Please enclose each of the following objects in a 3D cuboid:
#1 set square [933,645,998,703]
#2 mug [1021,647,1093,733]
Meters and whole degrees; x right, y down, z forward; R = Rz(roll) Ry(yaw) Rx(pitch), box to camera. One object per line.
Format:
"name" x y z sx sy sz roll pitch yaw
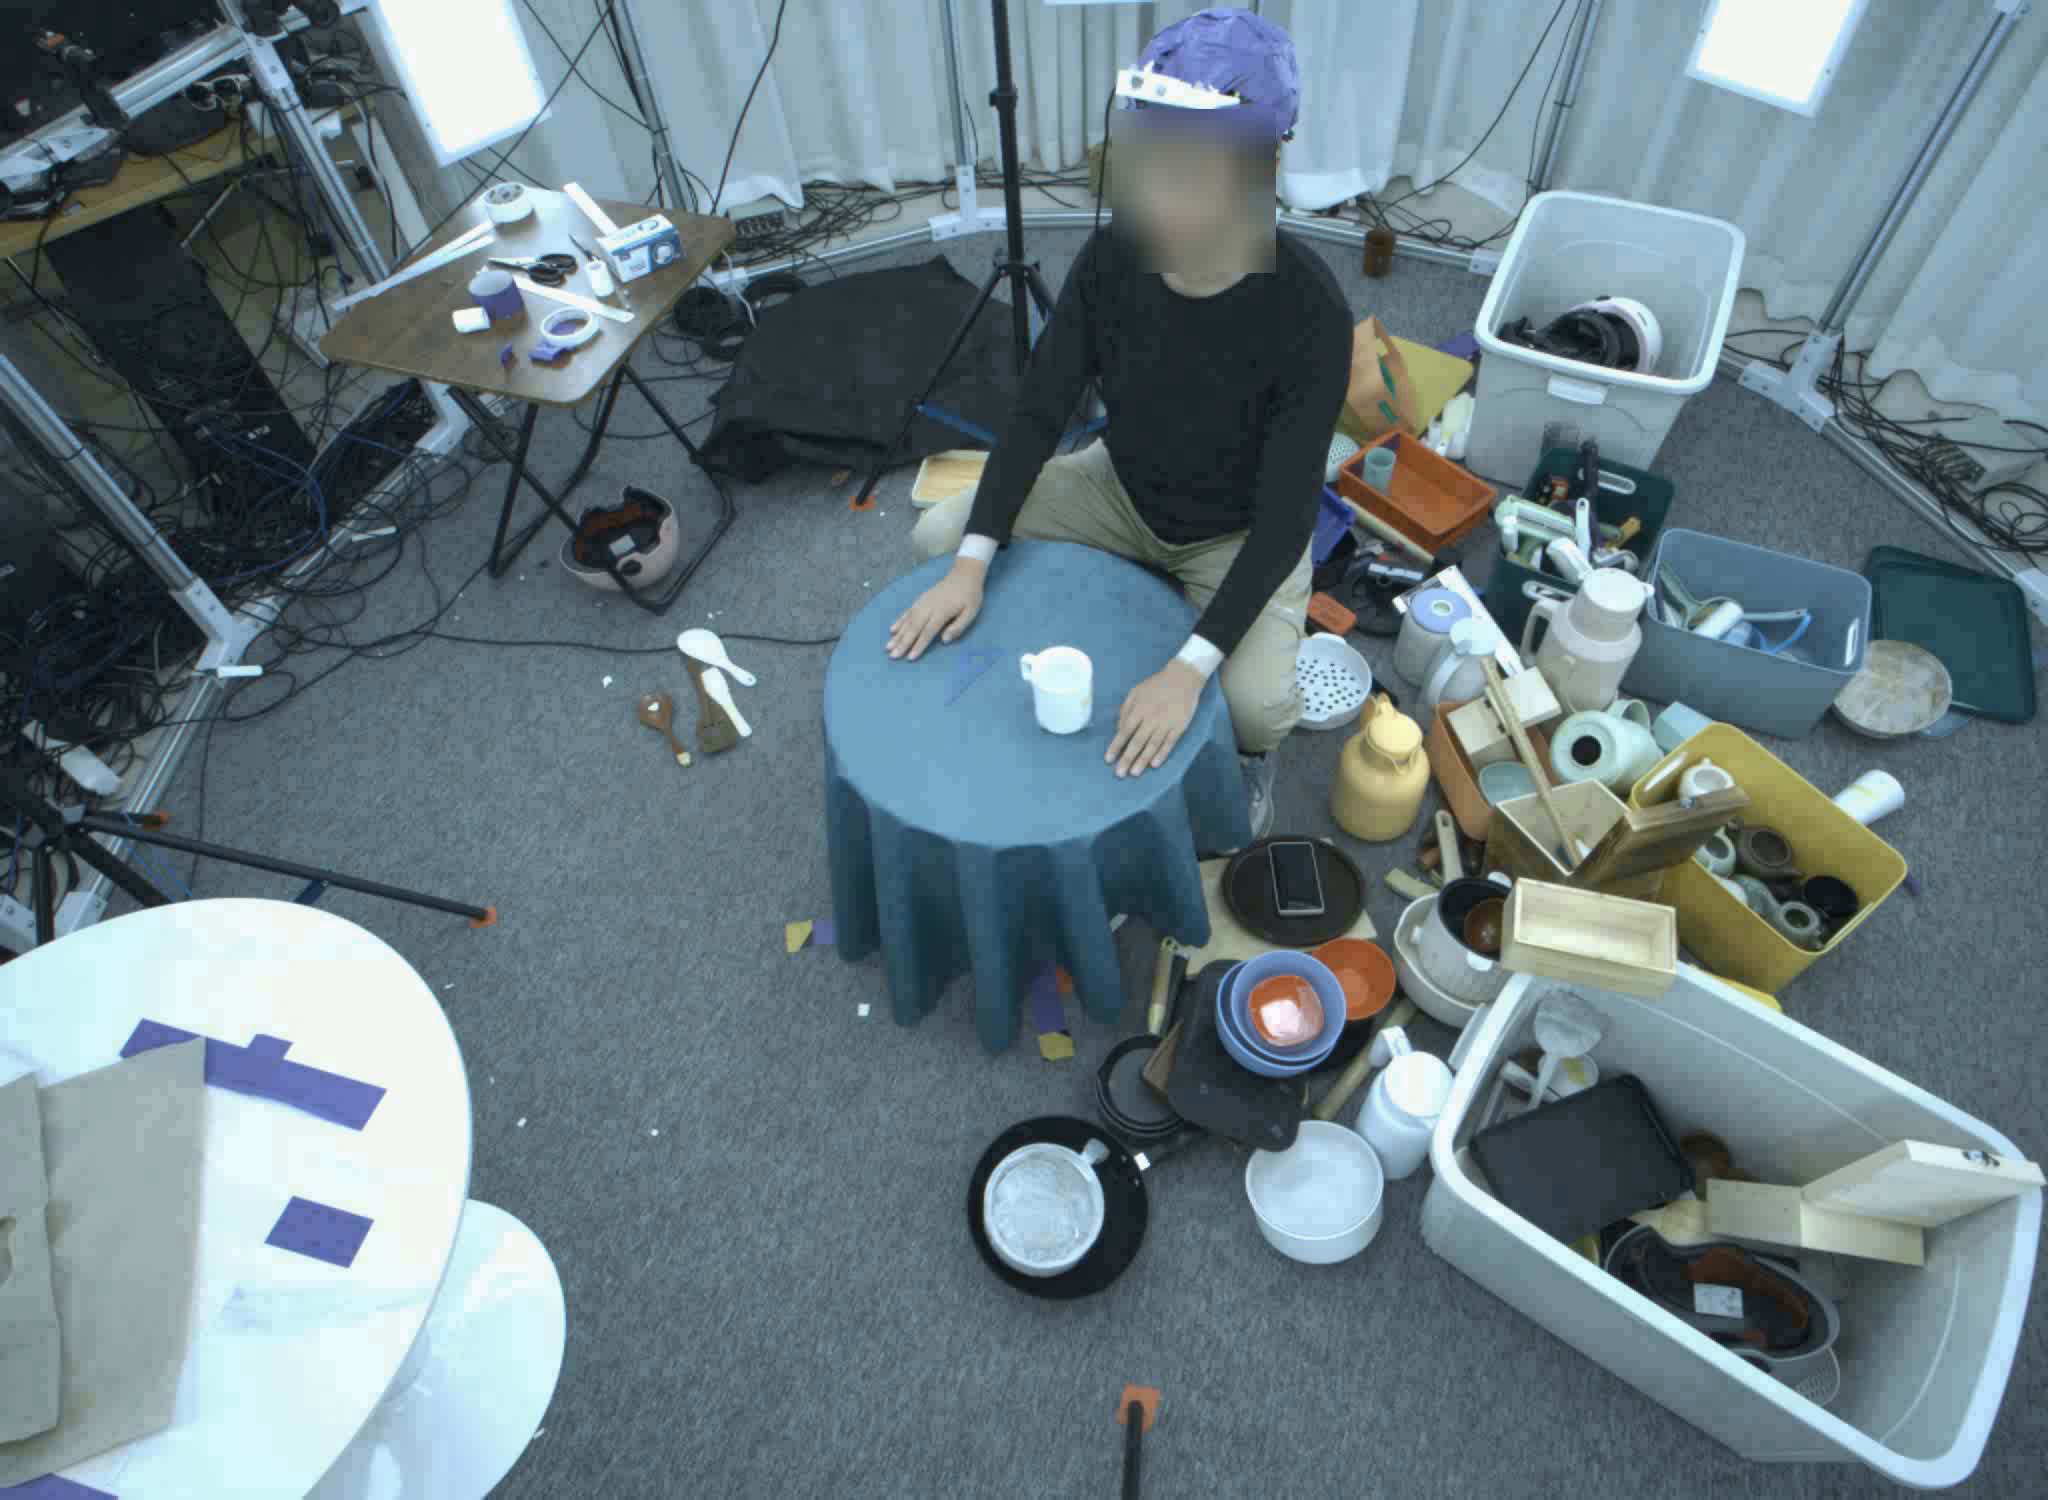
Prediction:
"set square" -0.105 -0.125 1.877 0.060 0.006 0.133 37 64 23
"mug" 0.045 -0.093 1.789 0.116 0.103 0.085 33 63 23
